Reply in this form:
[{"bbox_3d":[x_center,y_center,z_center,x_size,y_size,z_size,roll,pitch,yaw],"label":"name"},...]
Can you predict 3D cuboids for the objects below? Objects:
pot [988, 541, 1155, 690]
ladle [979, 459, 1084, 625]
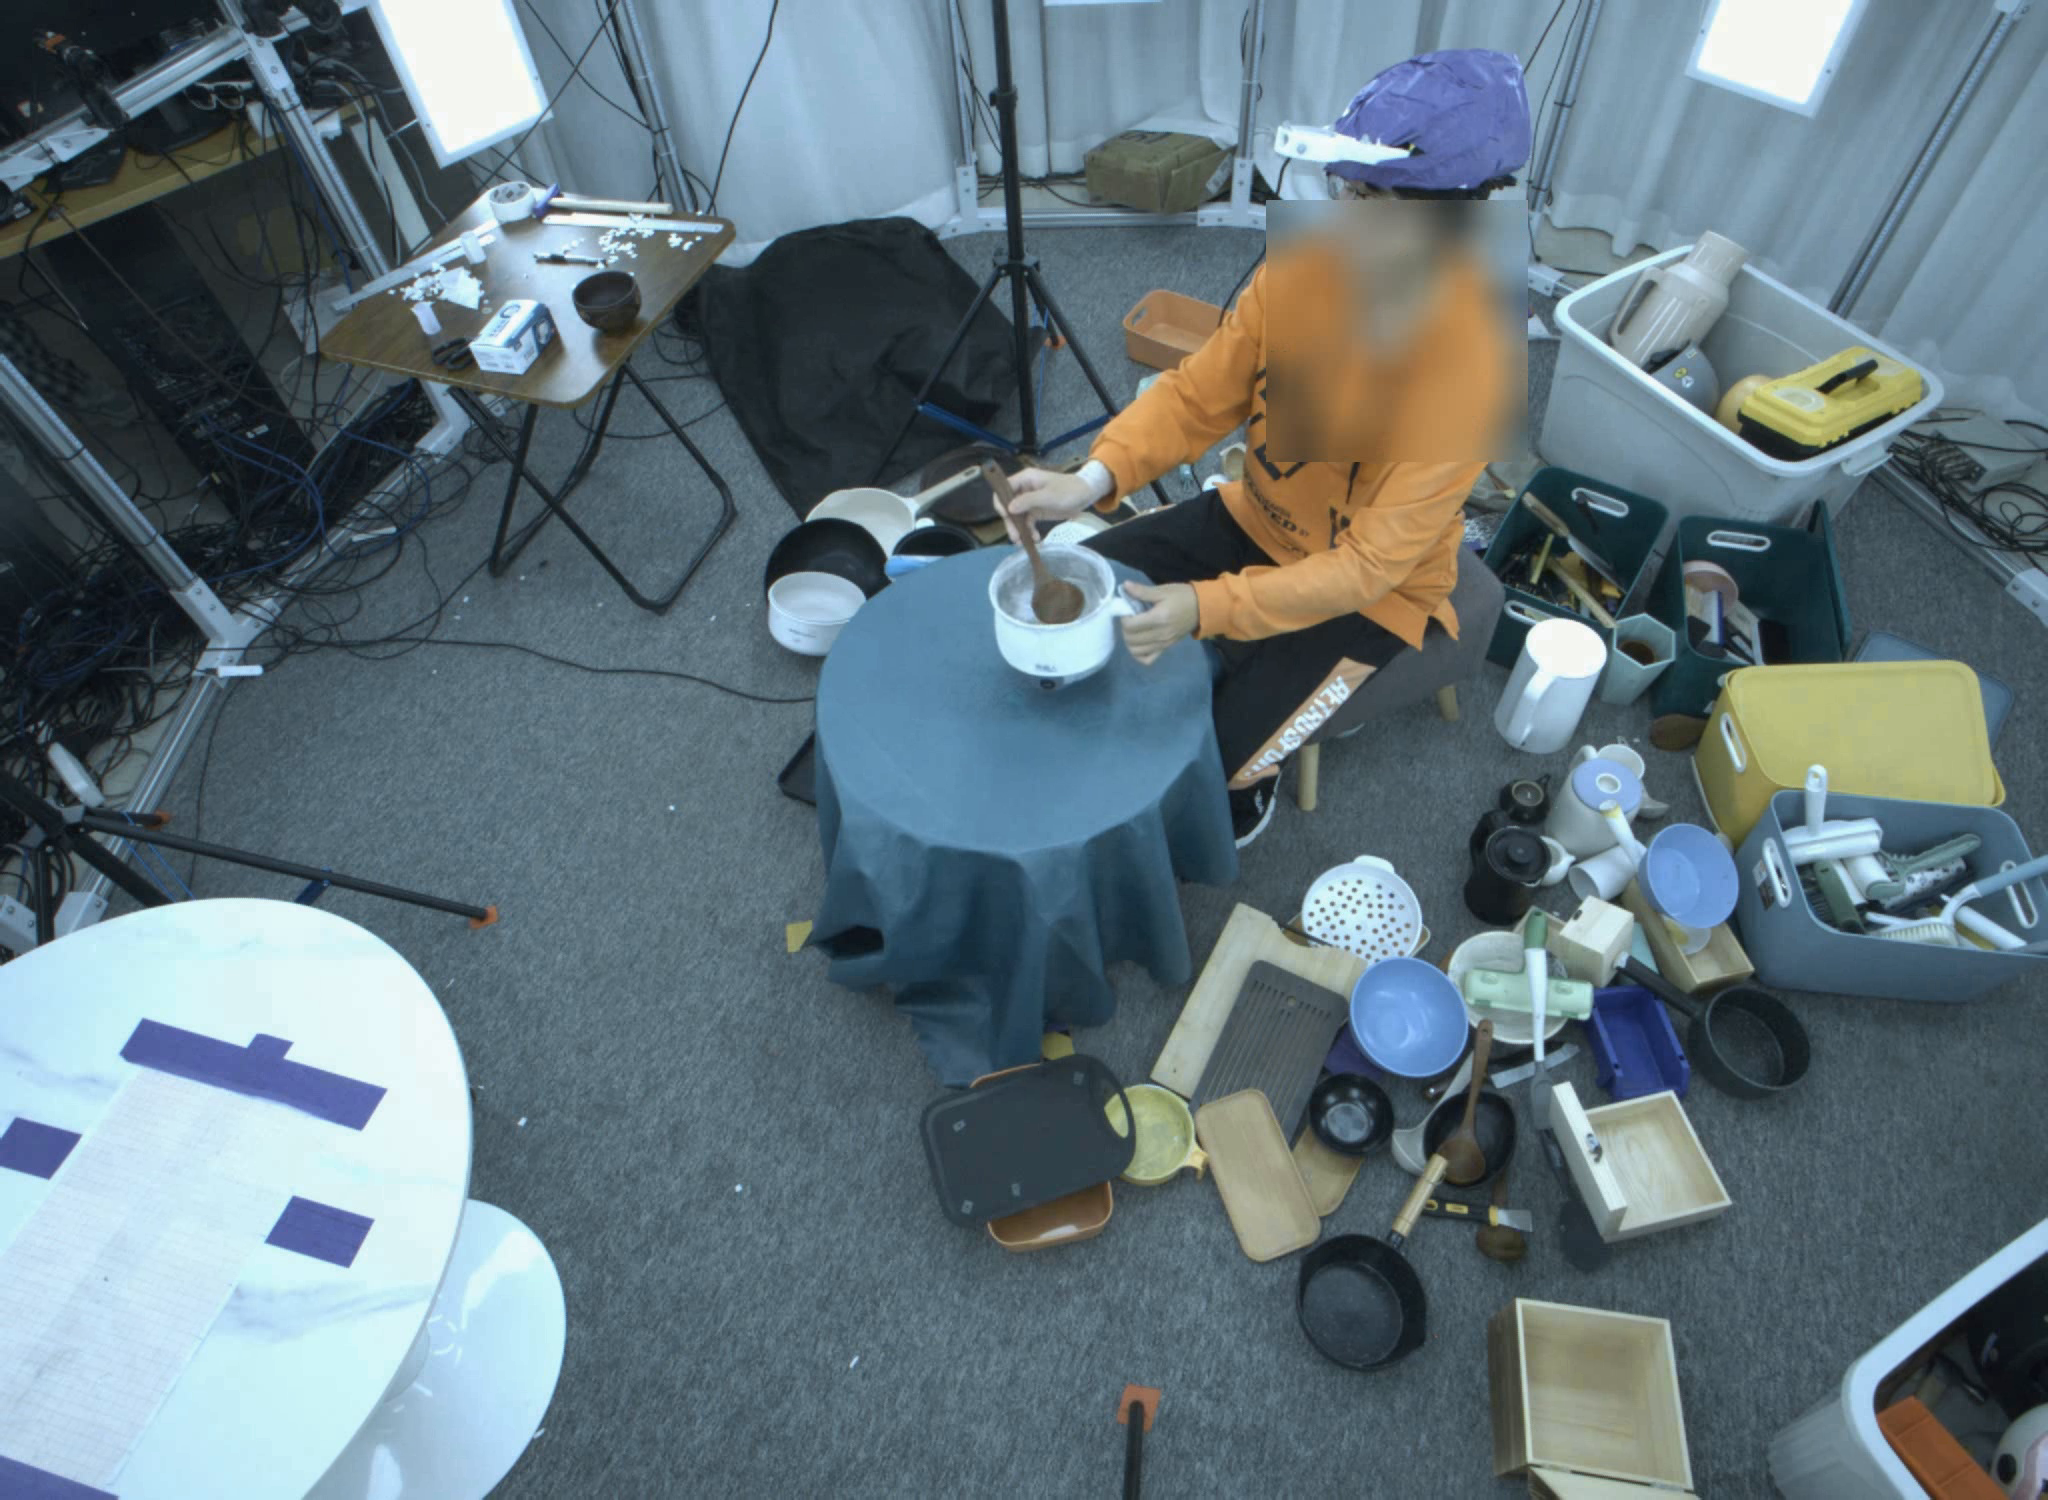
[{"bbox_3d":[0.071,-0.191,1.764,0.232,0.138,0.177,4,53,9],"label":"pot"},{"bbox_3d":[0.003,-0.291,1.694,0.077,0.064,0.261,-27,97,-14],"label":"ladle"}]
